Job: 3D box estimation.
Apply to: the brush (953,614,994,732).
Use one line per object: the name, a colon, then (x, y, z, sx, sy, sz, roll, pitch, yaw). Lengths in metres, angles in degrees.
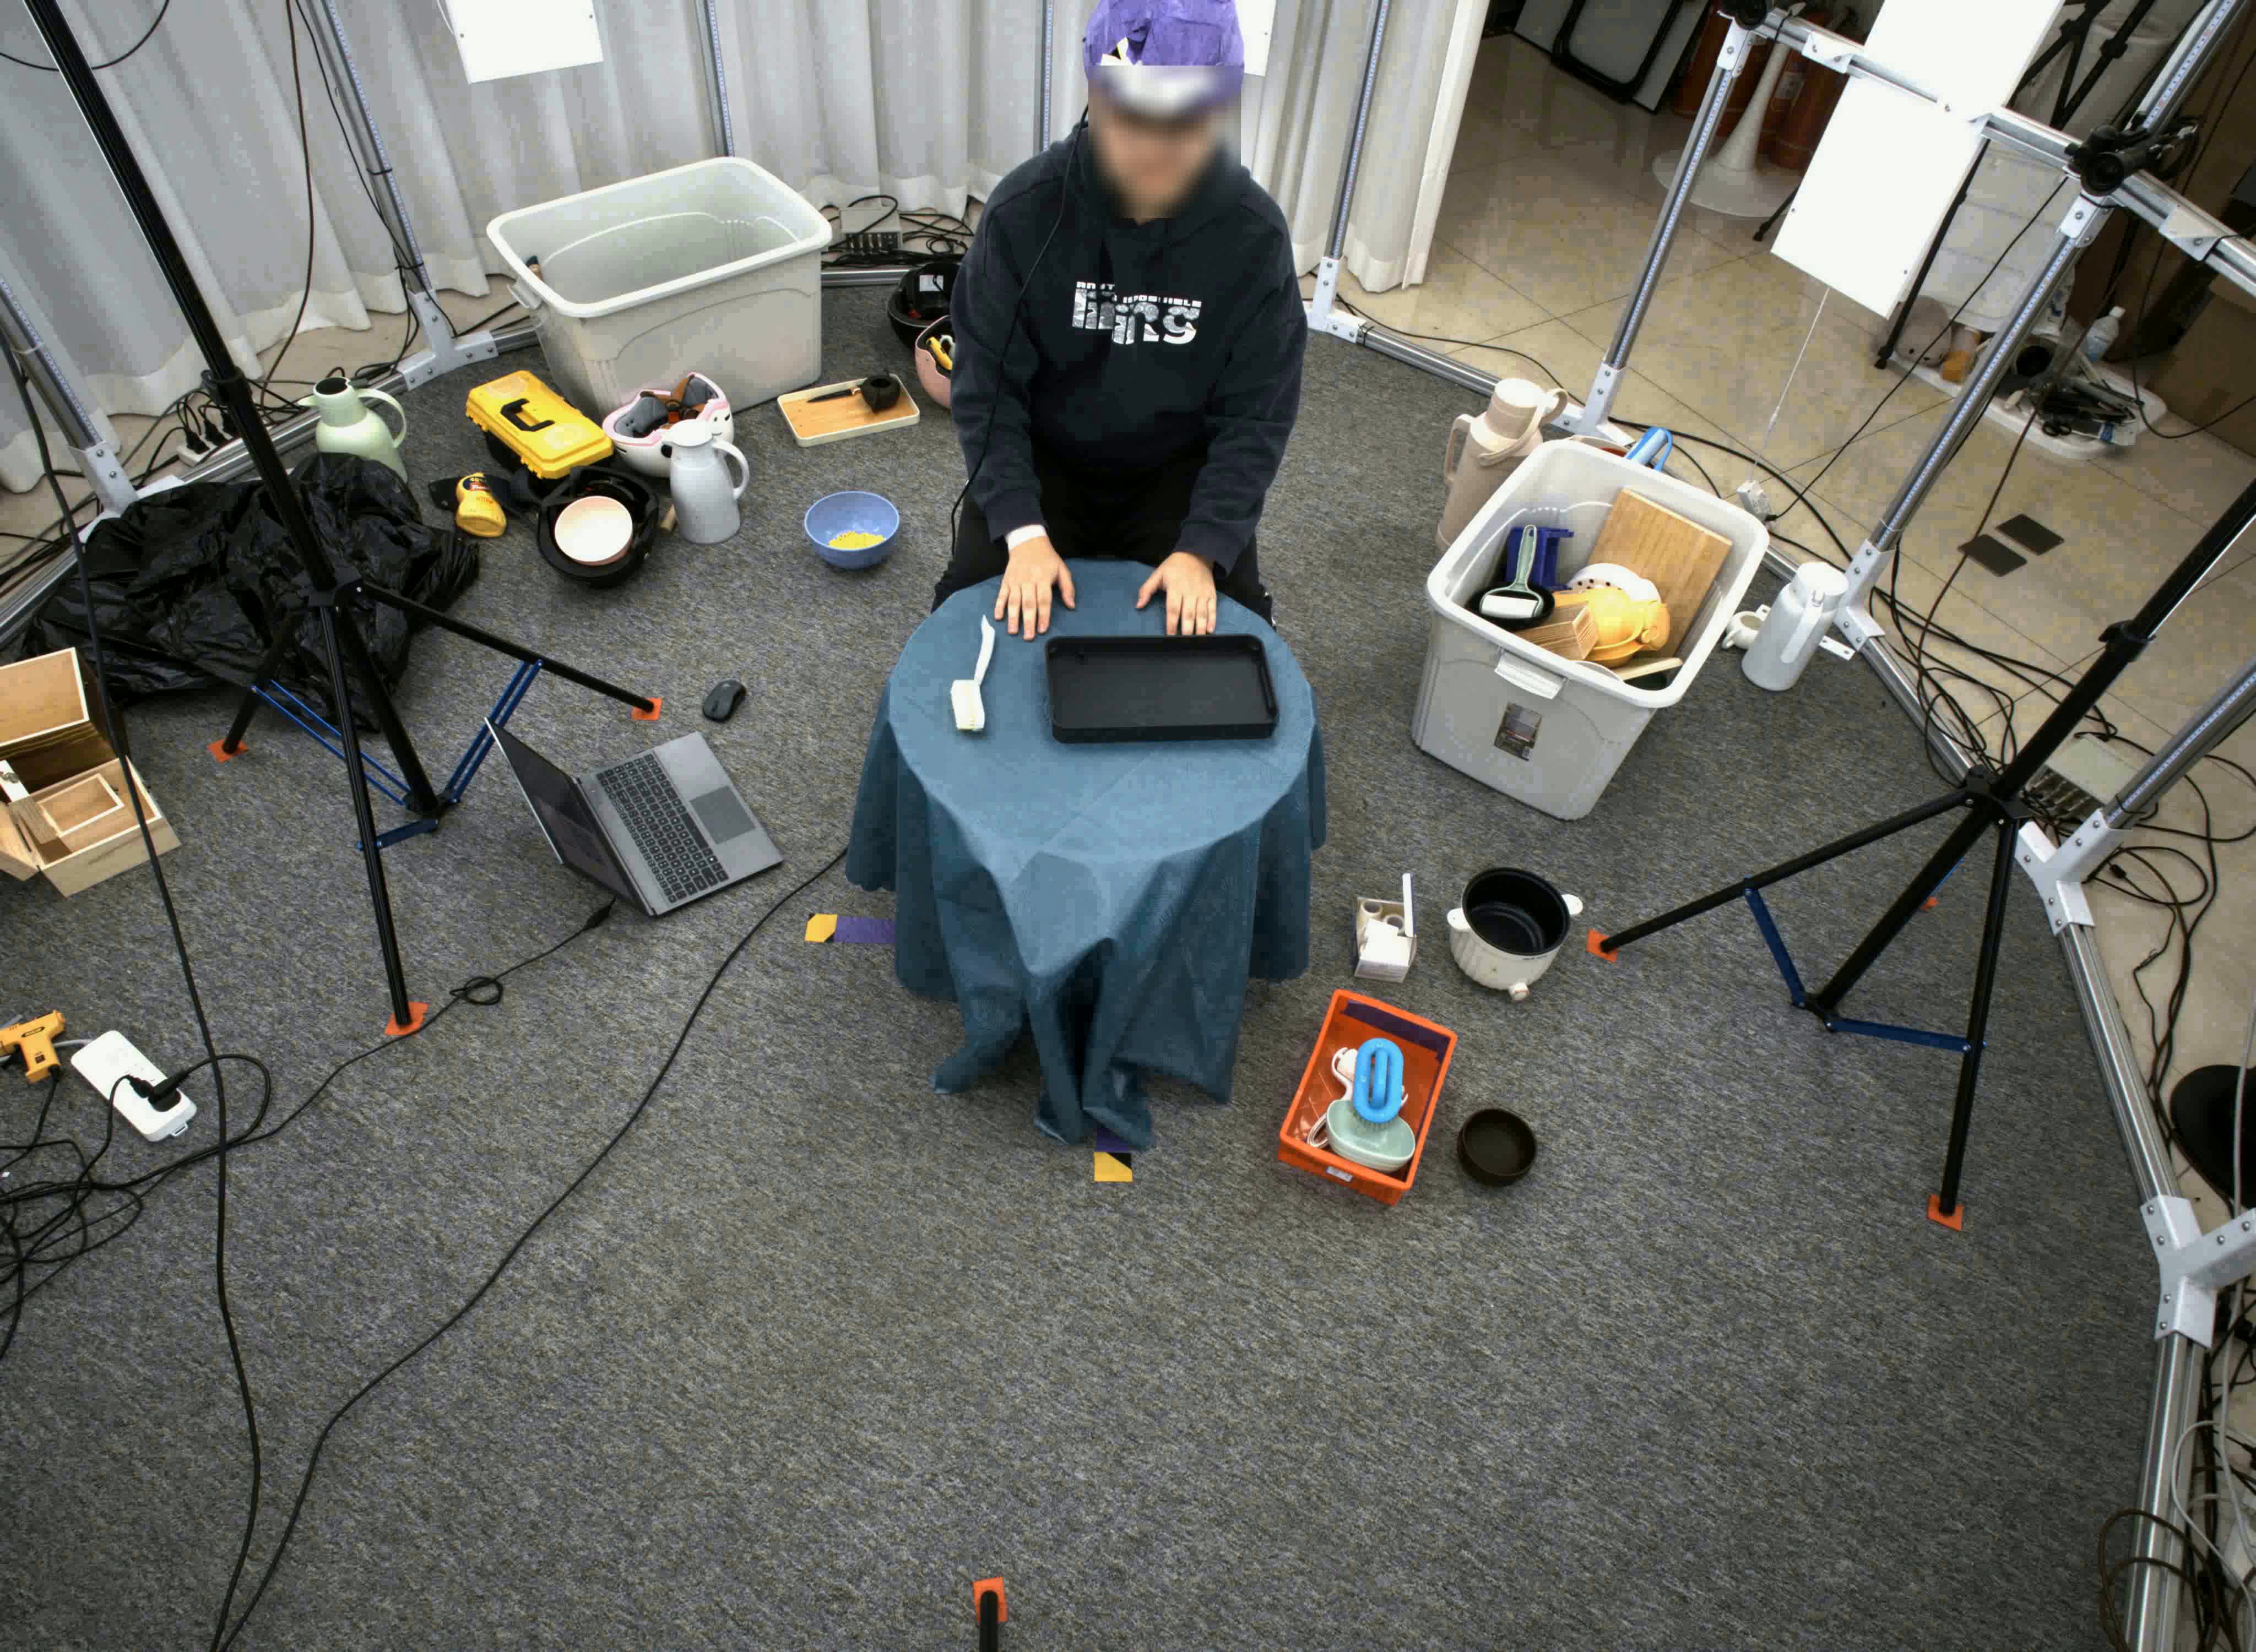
brush: (-0.218, -0.222, 1.817, 0.049, 0.037, 0.234, 11, 47, -10)

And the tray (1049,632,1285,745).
tray: (0.051, -0.197, 1.817, 0.317, 0.036, 0.189, -3, 49, -7)
